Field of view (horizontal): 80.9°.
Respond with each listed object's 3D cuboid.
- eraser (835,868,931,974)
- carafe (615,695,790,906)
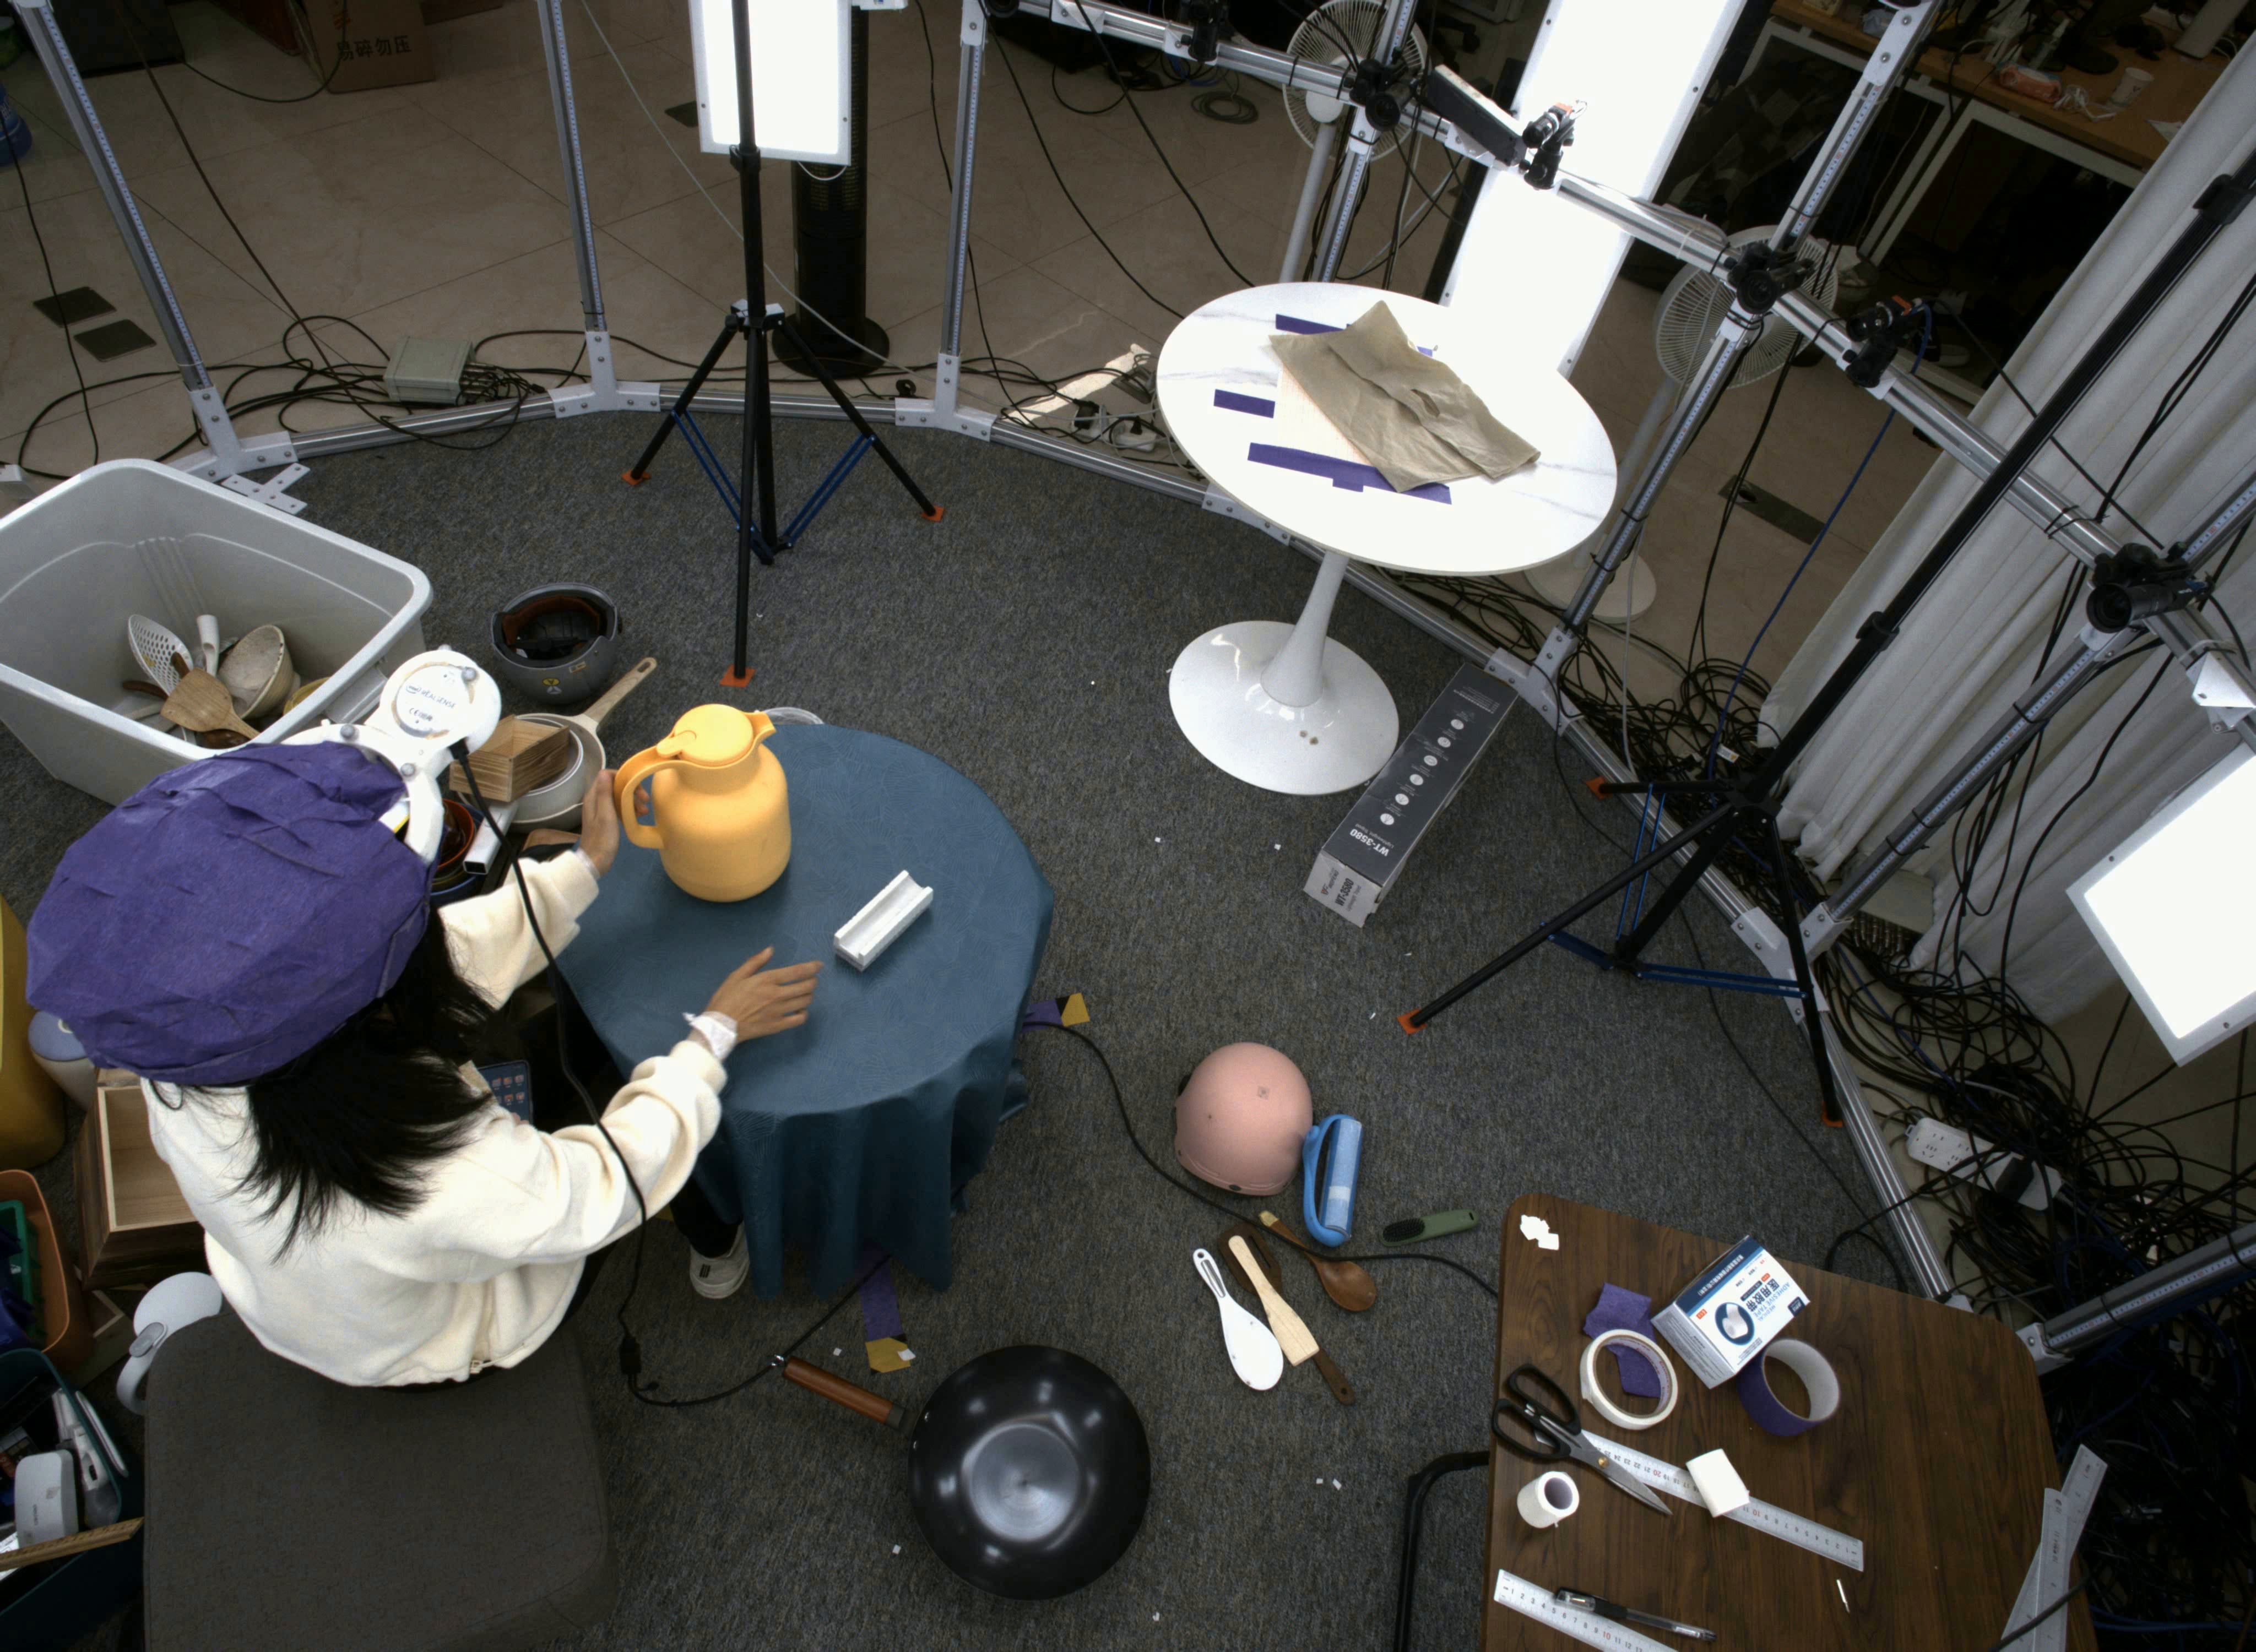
[{"bbox_3d":[-0.306,0.118,1.632,0.049,0.047,0.134,33,52,8],"label":"eraser"},{"bbox_3d":[-0.511,-0.032,1.548,0.203,0.266,0.159,-20,56,-27],"label":"carafe"}]
